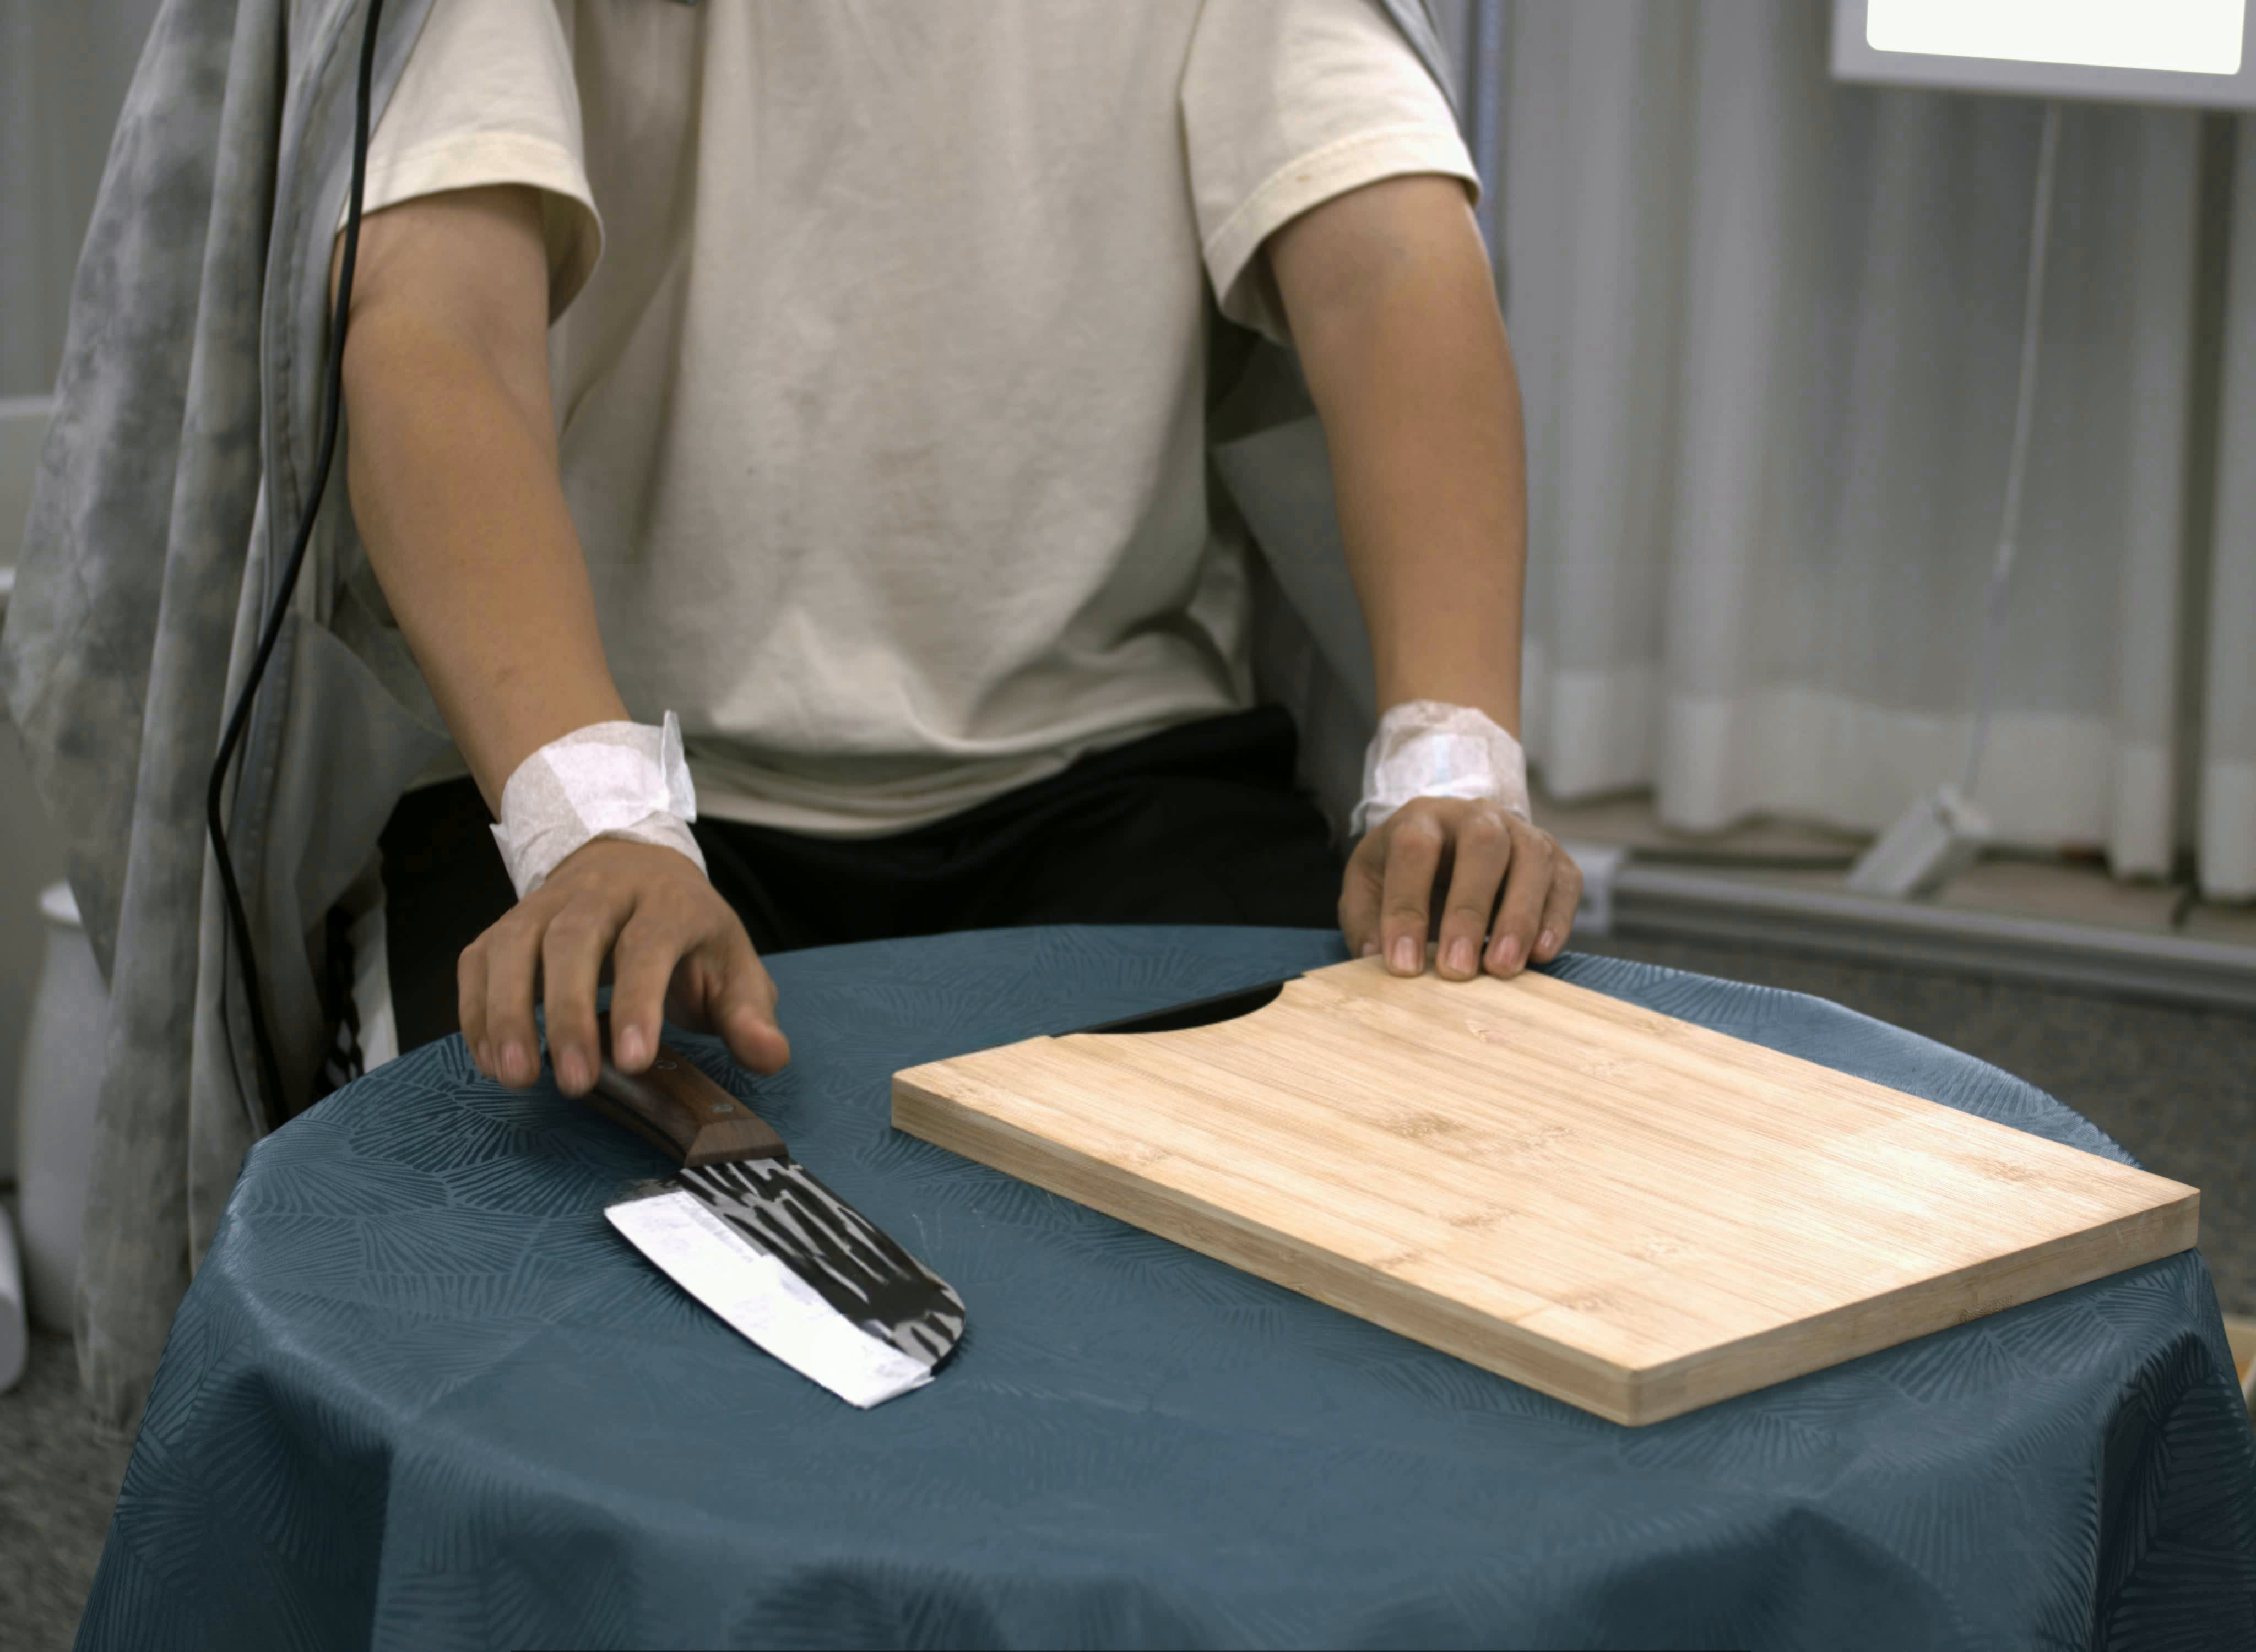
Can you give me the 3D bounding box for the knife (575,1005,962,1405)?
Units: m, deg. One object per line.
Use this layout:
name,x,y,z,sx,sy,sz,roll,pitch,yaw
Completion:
knife,-0.121,0.113,1.582,0.068,0.024,0.295,-10,21,-24

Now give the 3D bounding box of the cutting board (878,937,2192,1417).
cutting board,0.120,0.102,1.638,0.252,0.024,0.344,-12,20,-40
